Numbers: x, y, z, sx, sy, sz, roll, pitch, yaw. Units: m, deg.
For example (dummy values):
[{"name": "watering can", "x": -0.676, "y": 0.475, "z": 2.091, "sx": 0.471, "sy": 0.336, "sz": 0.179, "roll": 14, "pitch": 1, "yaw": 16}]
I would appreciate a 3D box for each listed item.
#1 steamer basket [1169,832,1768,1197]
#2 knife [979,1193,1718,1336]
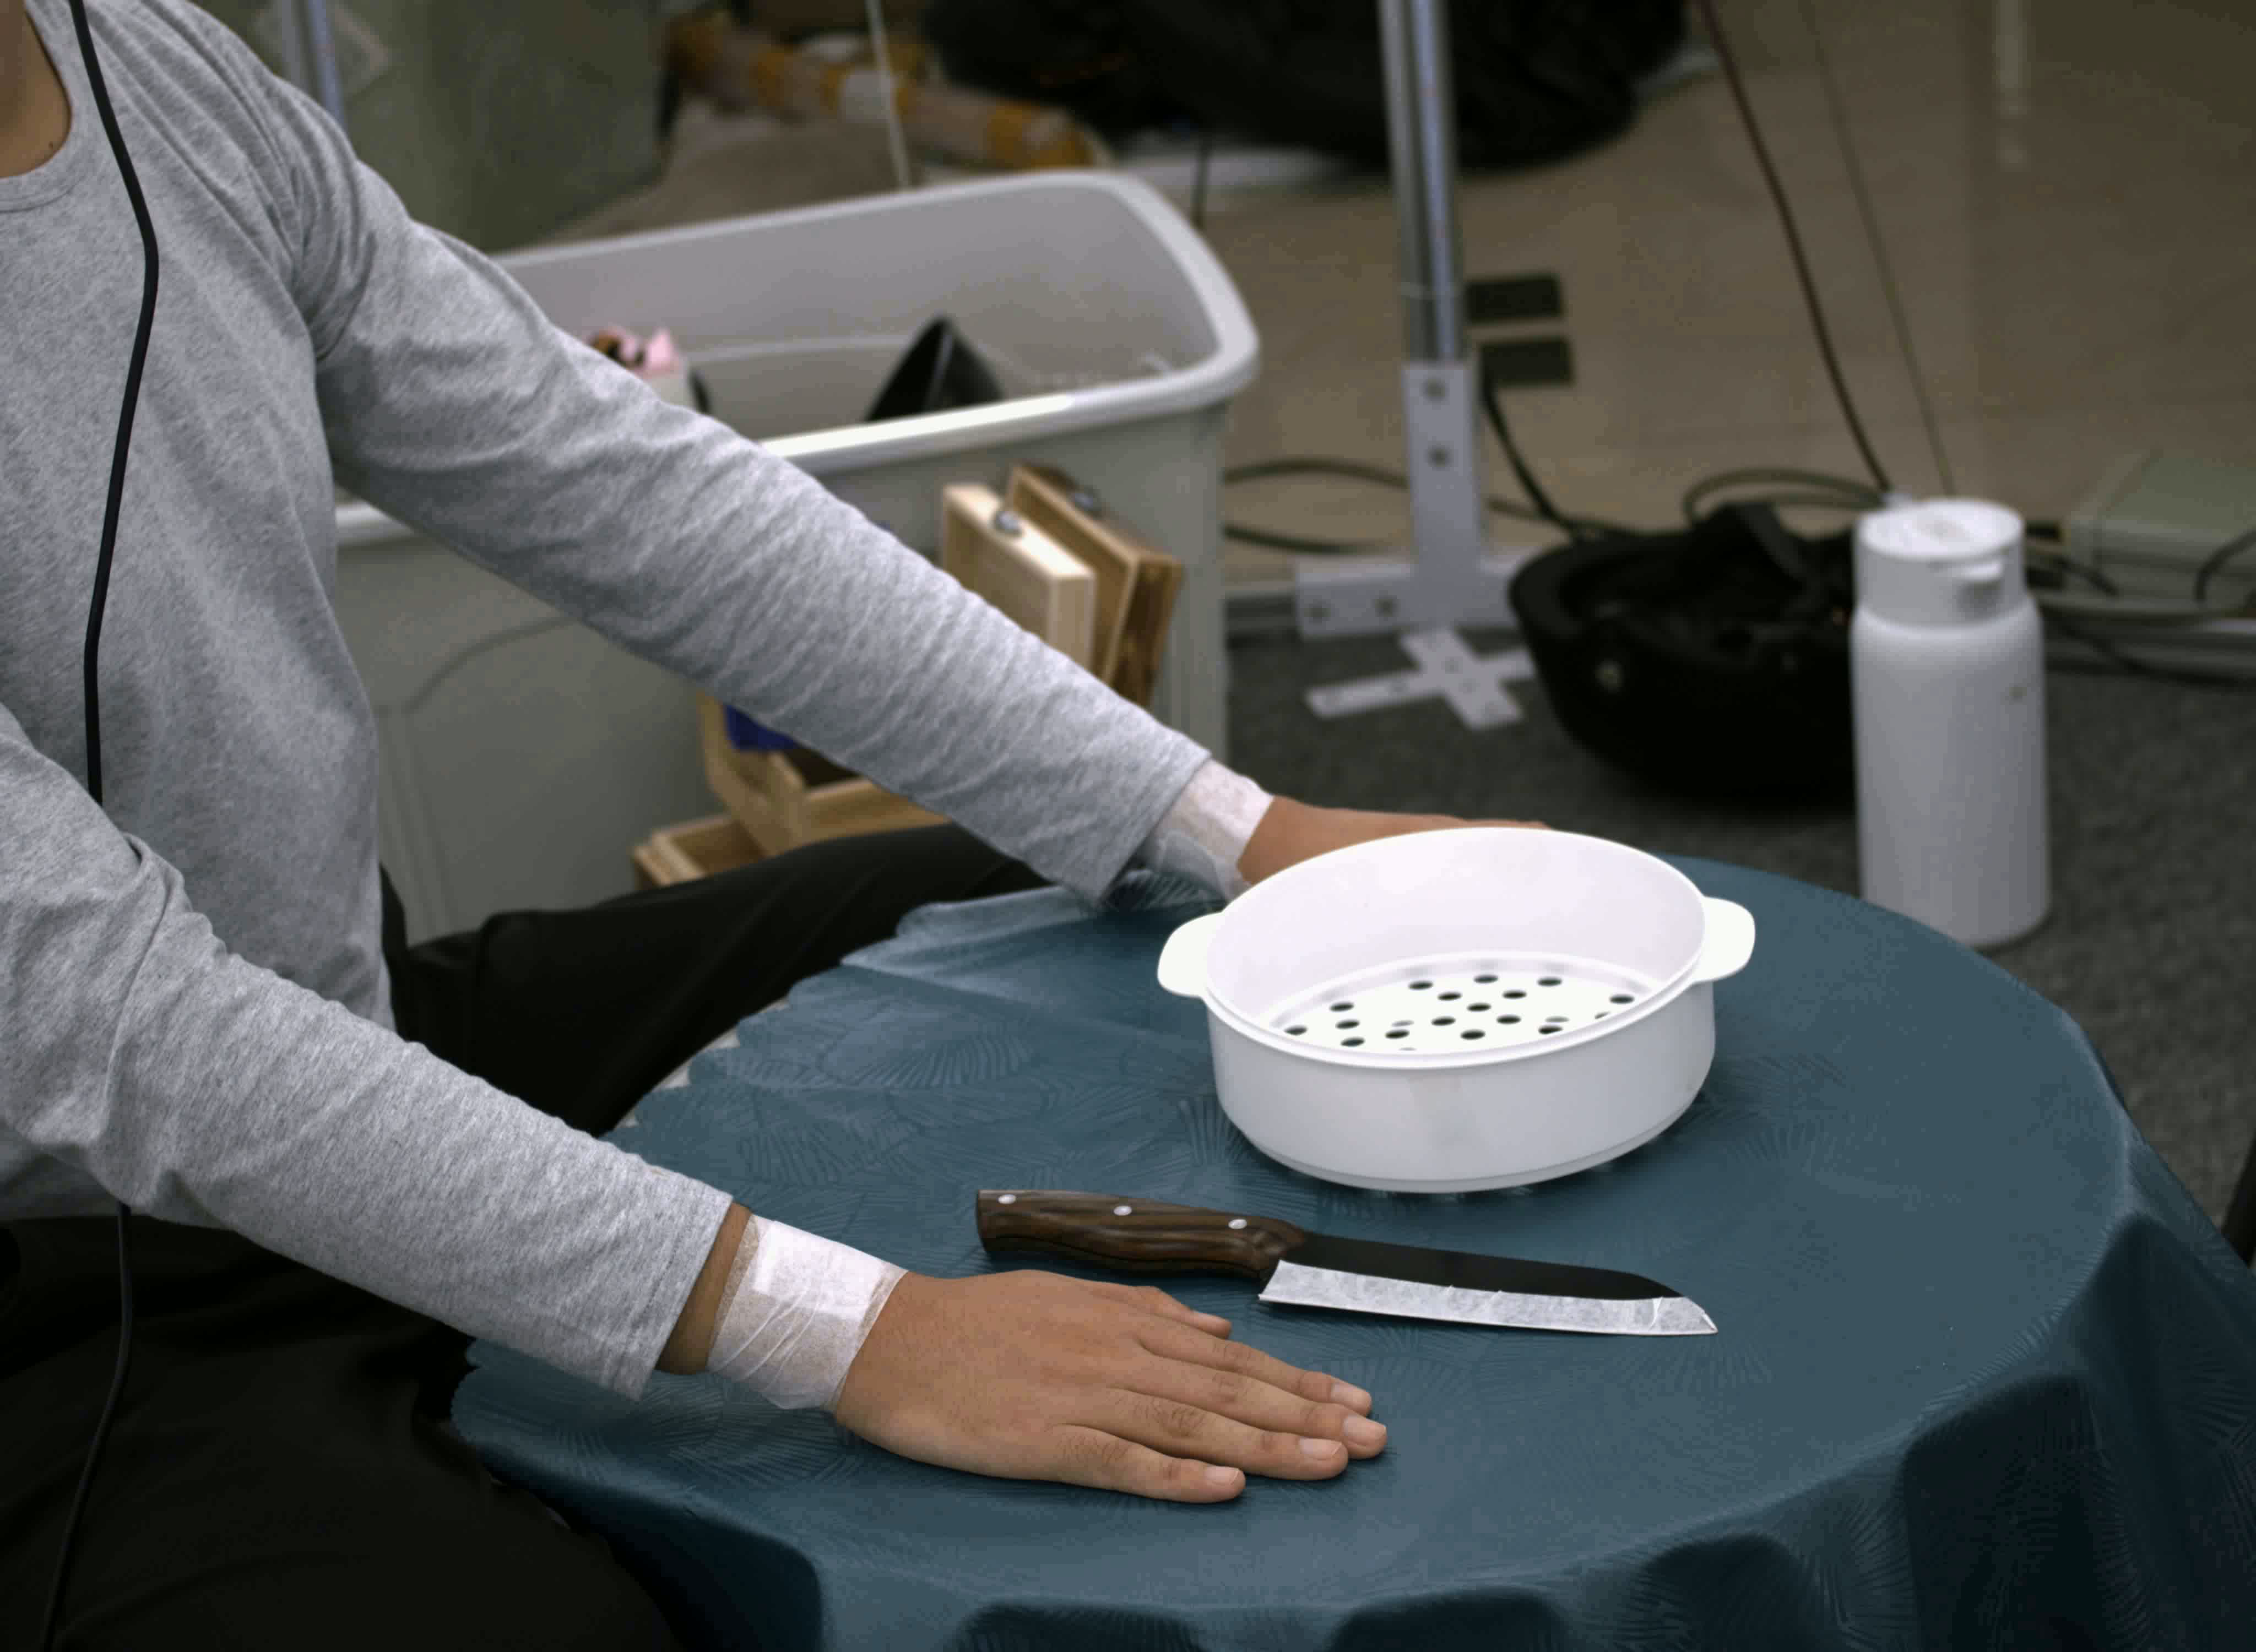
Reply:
[{"name": "steamer basket", "x": 0.133, "y": 0.072, "z": 2.183, "sx": 0.230, "sy": 0.070, "sz": 0.199, "roll": -3, "pitch": 24, "yaw": 11}, {"name": "knife", "x": 0.076, "y": 0.162, "z": 2.067, "sx": 0.288, "sy": 0.020, "sz": 0.049, "roll": 6, "pitch": 33, "yaw": 21}]
